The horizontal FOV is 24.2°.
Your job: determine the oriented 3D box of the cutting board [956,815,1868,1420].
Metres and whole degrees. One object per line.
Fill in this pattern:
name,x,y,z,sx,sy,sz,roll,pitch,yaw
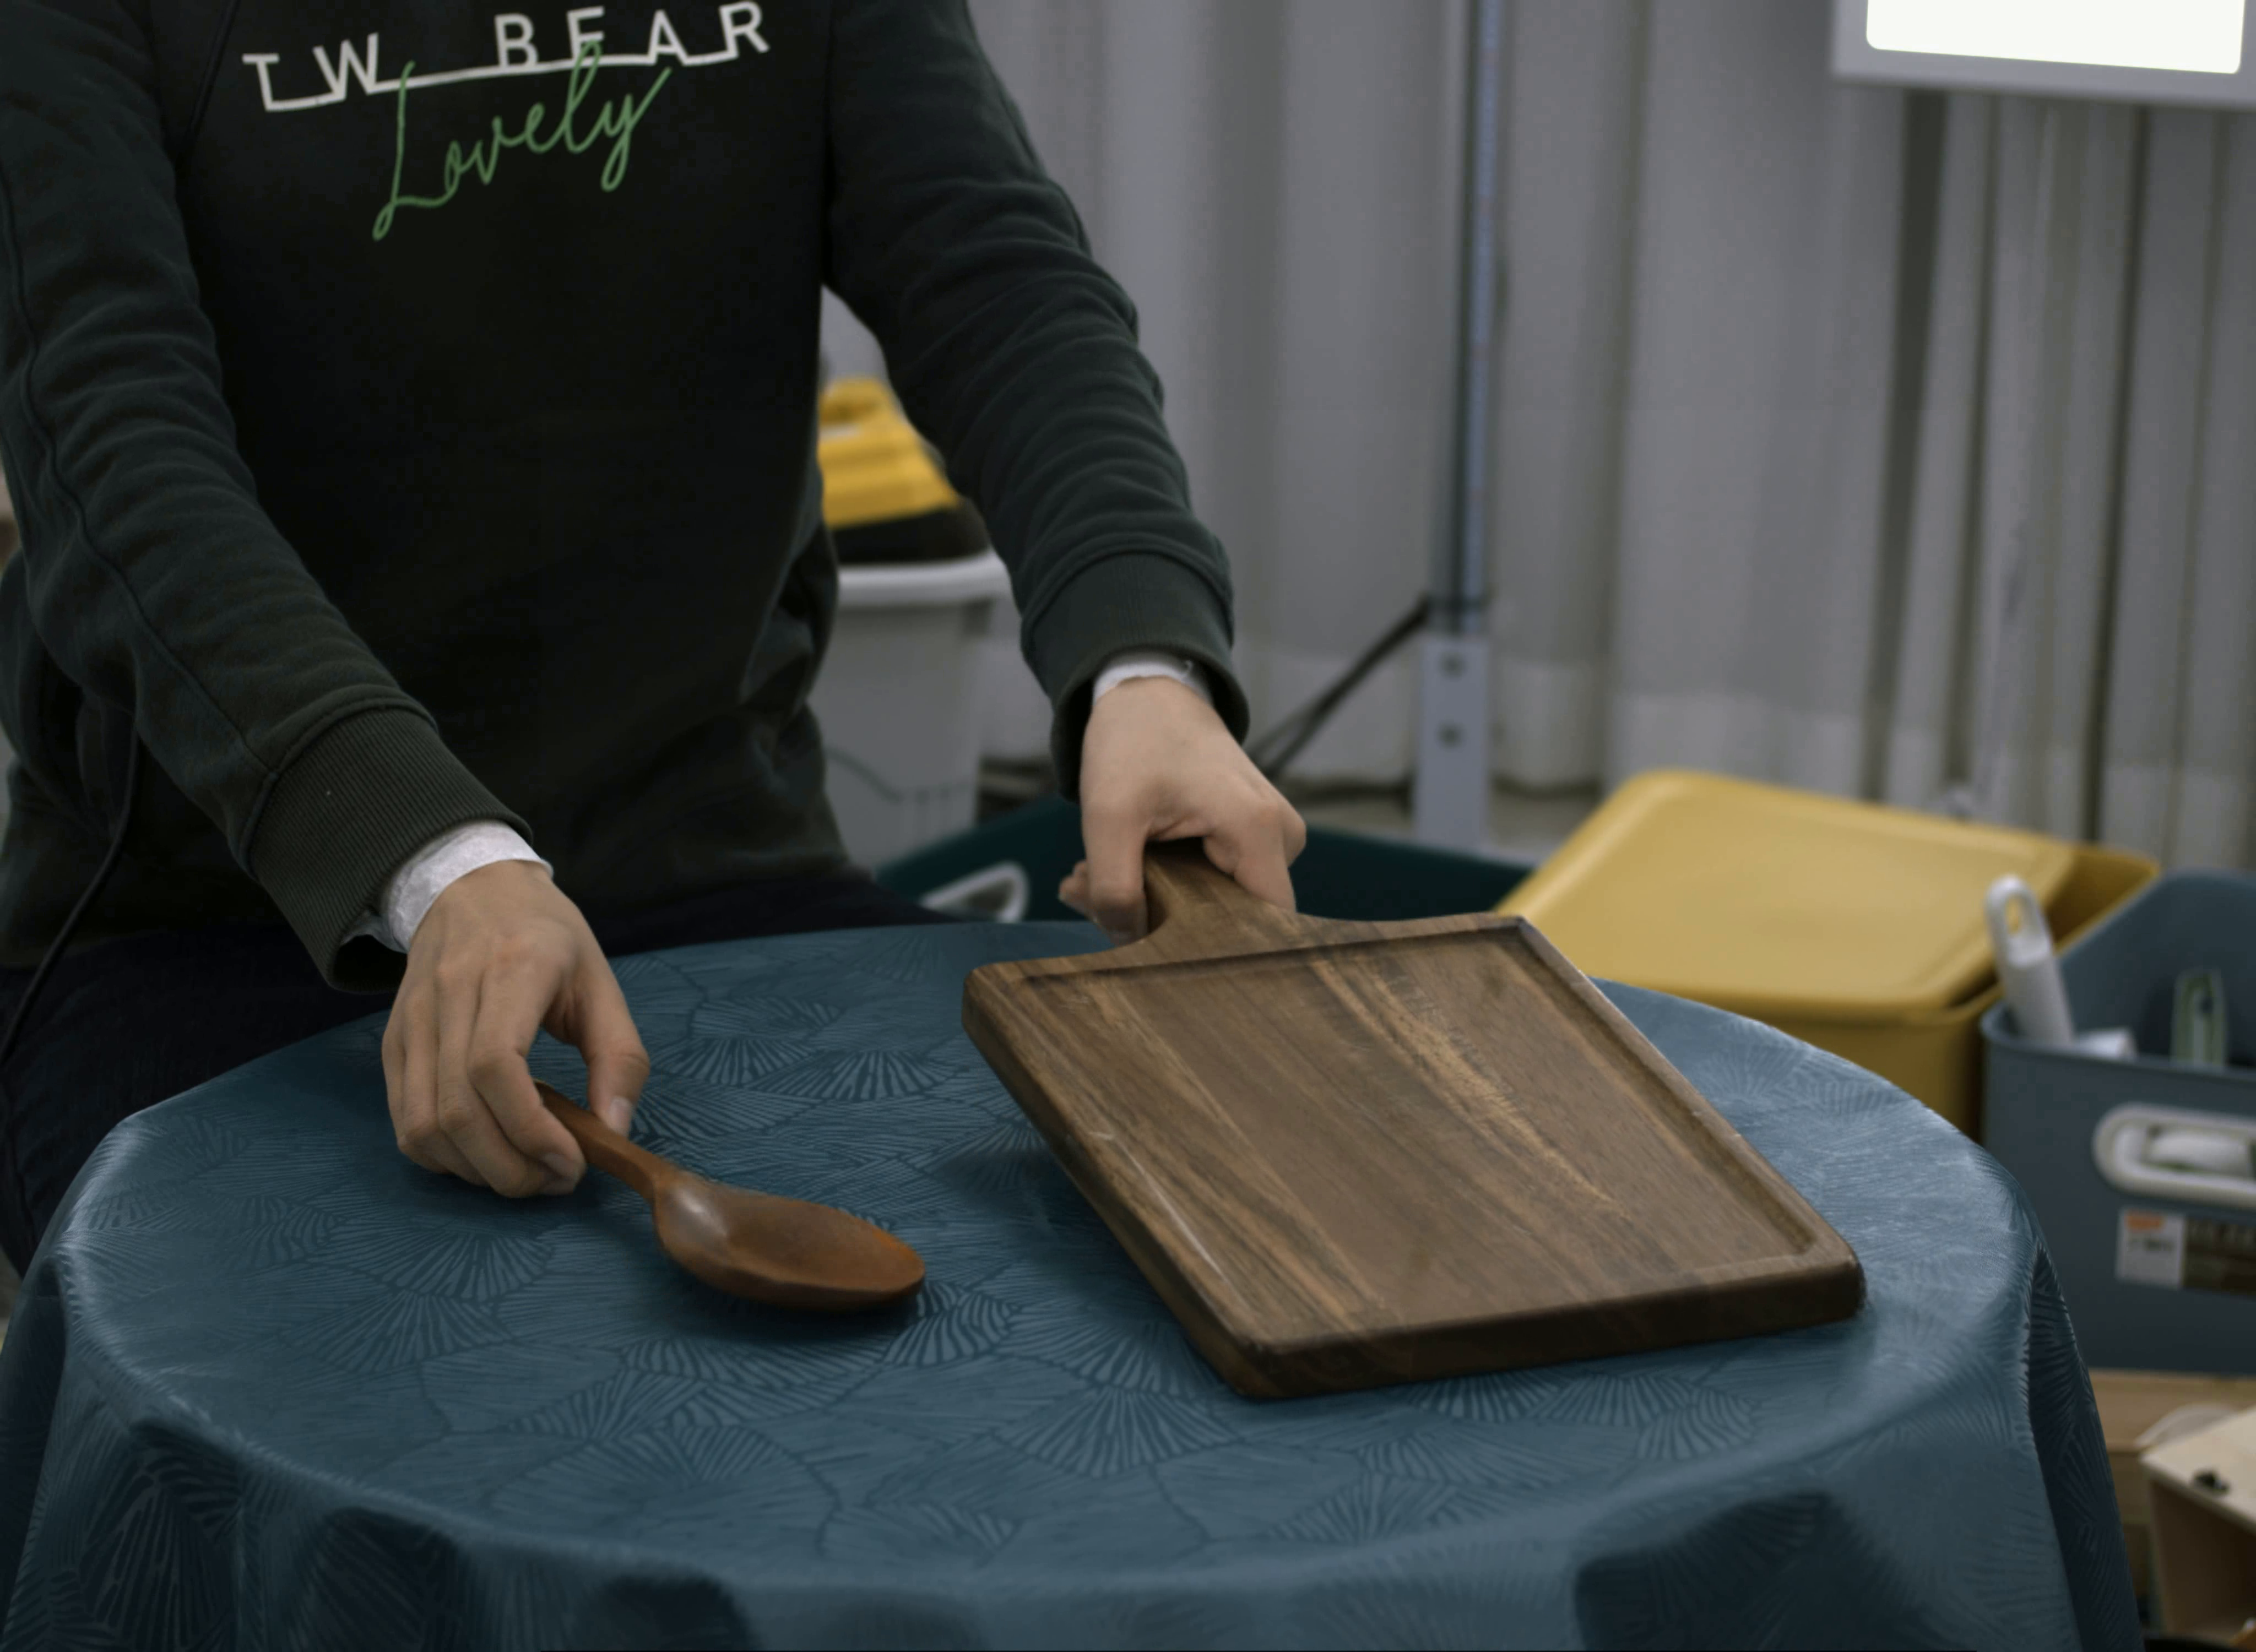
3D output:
cutting board,0.063,0.076,1.630,0.201,0.023,0.347,-6,26,-20

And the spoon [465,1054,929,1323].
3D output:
spoon,-0.137,0.109,1.577,0.076,0.017,0.213,-6,21,-38
